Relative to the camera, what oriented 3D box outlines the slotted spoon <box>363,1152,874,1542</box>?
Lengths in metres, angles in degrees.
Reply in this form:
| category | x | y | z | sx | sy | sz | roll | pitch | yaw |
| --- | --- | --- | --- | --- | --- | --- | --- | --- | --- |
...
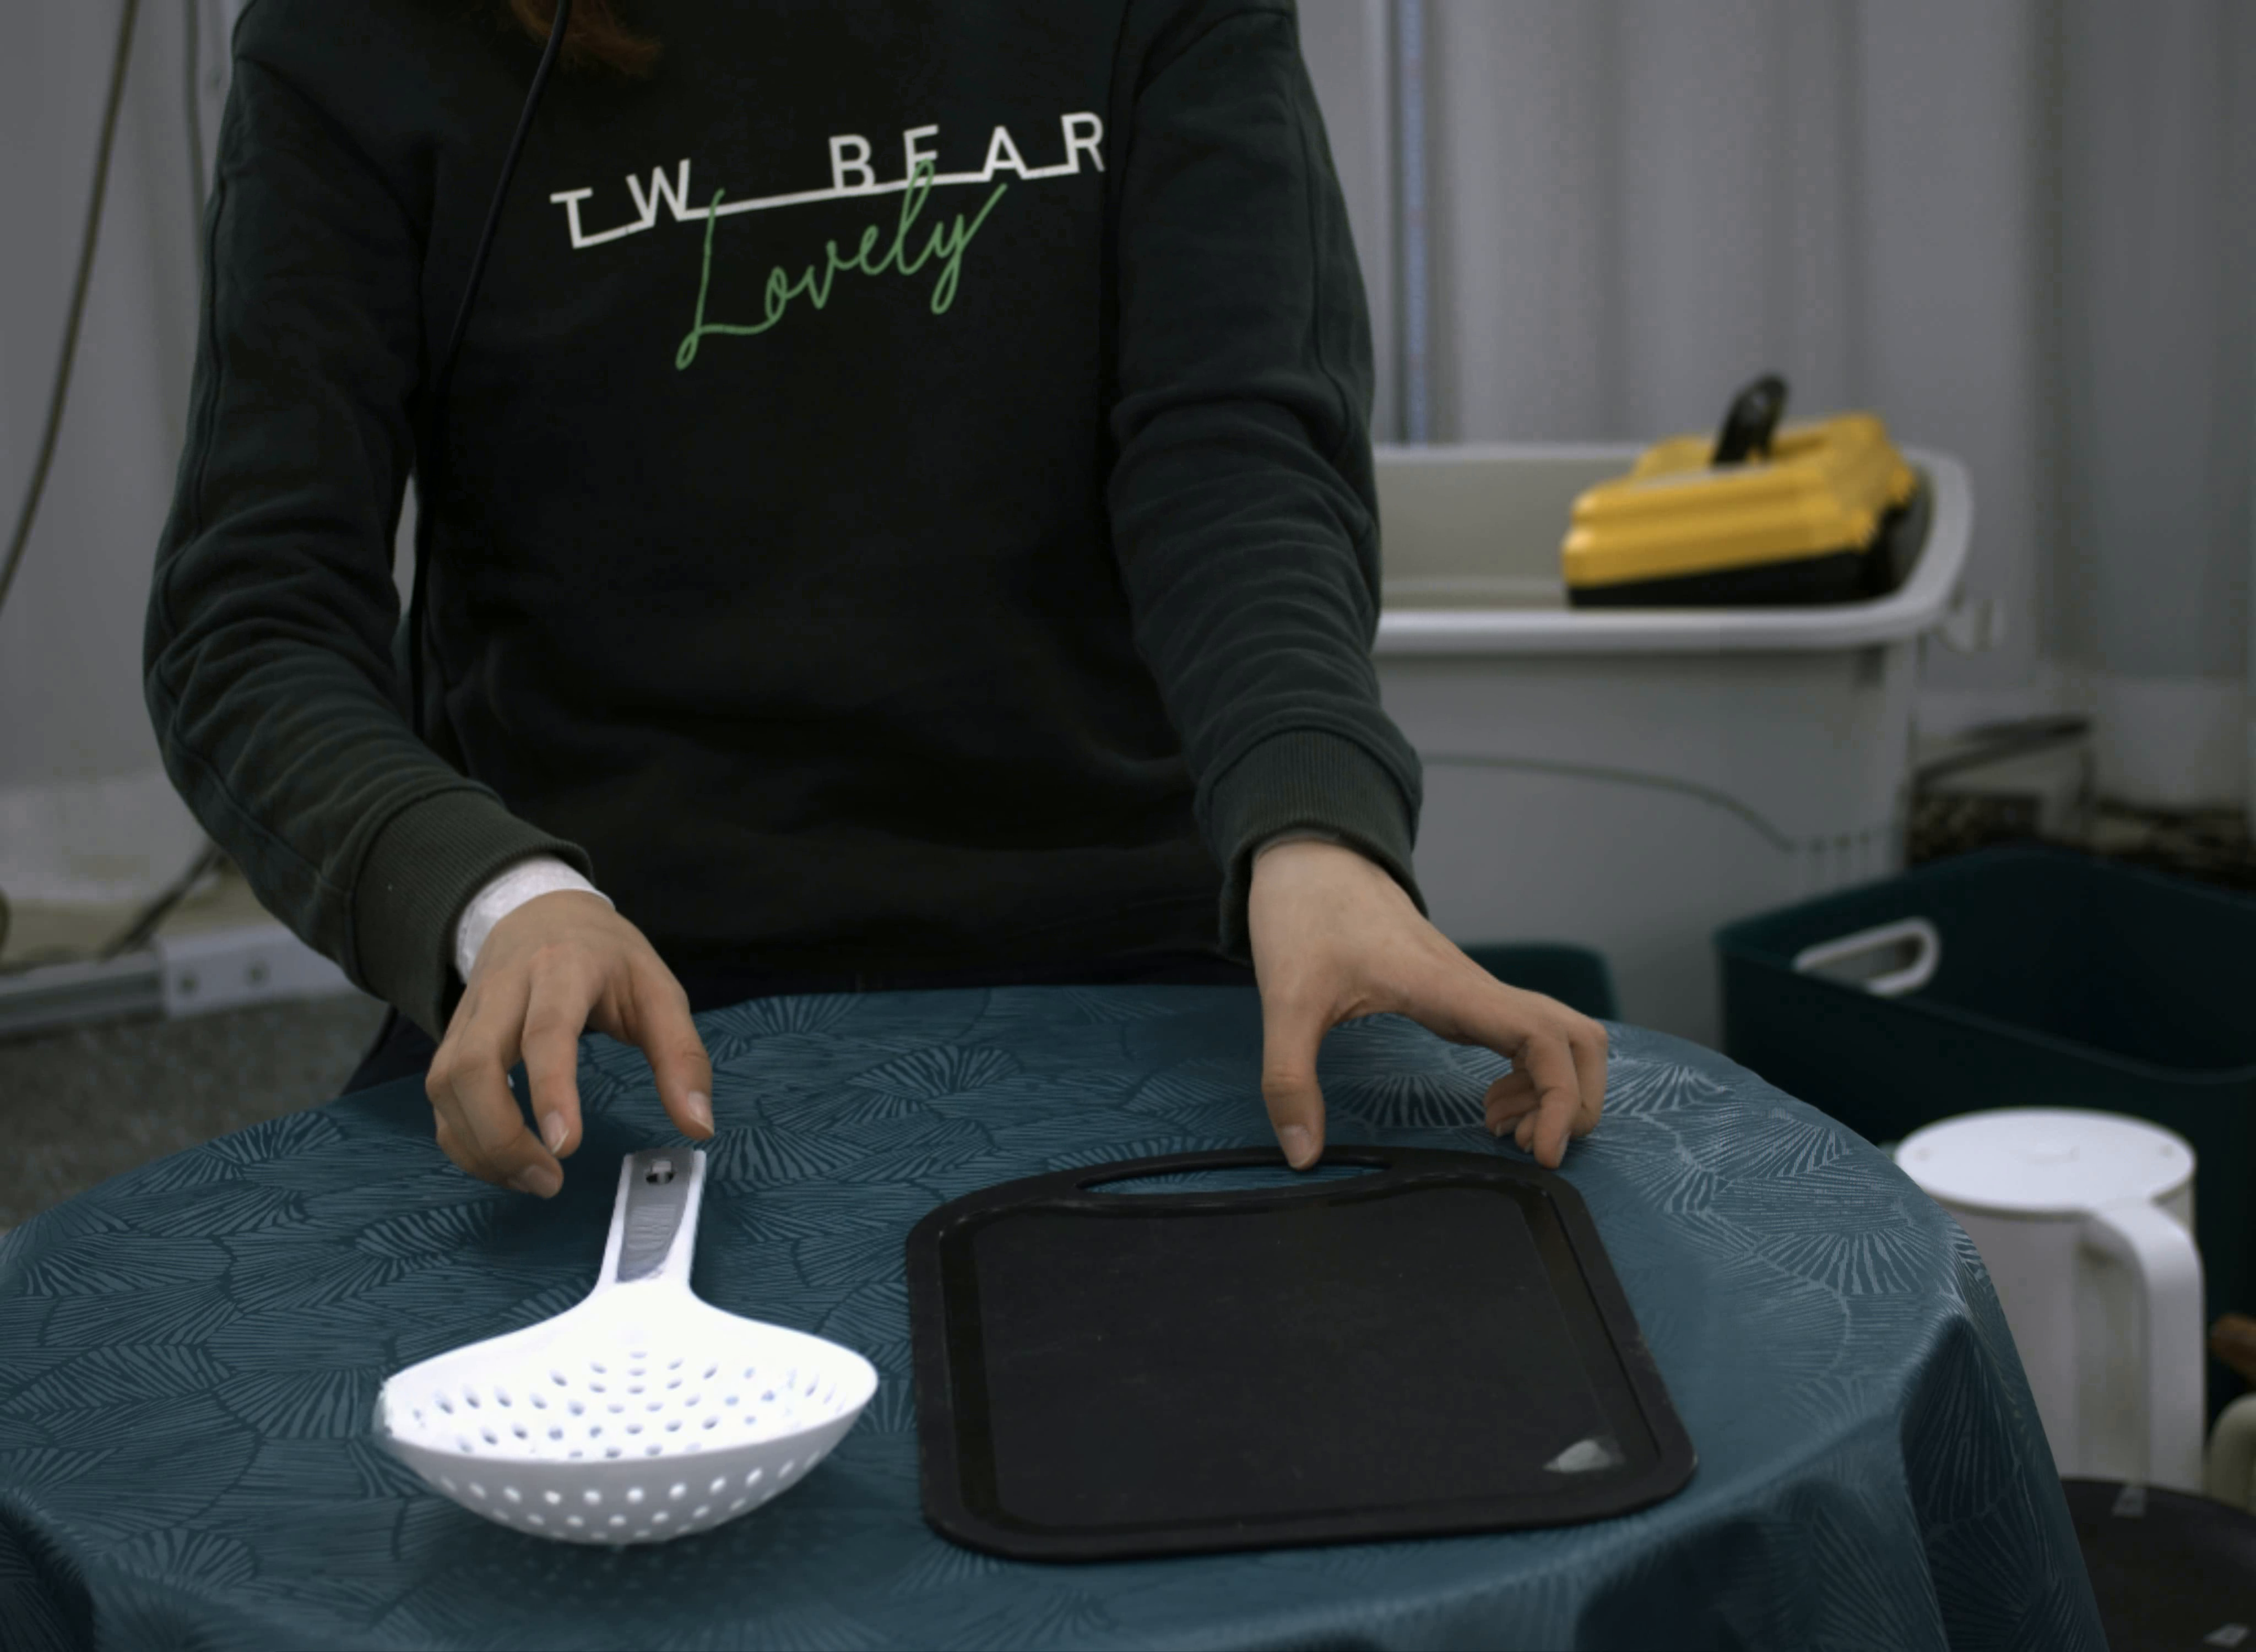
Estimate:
| category | x | y | z | sx | sy | sz | roll | pitch | yaw |
| --- | --- | --- | --- | --- | --- | --- | --- | --- | --- |
| slotted spoon | -0.139 | 0.139 | 1.561 | 0.135 | 0.045 | 0.352 | -1 | 14 | -2 |

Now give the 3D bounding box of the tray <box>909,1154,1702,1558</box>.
| category | x | y | z | sx | sy | sz | roll | pitch | yaw |
| --- | --- | --- | --- | --- | --- | --- | --- | --- | --- |
| tray | 0.043 | 0.145 | 1.579 | 0.210 | 0.010 | 0.327 | -3 | 15 | -2 |
